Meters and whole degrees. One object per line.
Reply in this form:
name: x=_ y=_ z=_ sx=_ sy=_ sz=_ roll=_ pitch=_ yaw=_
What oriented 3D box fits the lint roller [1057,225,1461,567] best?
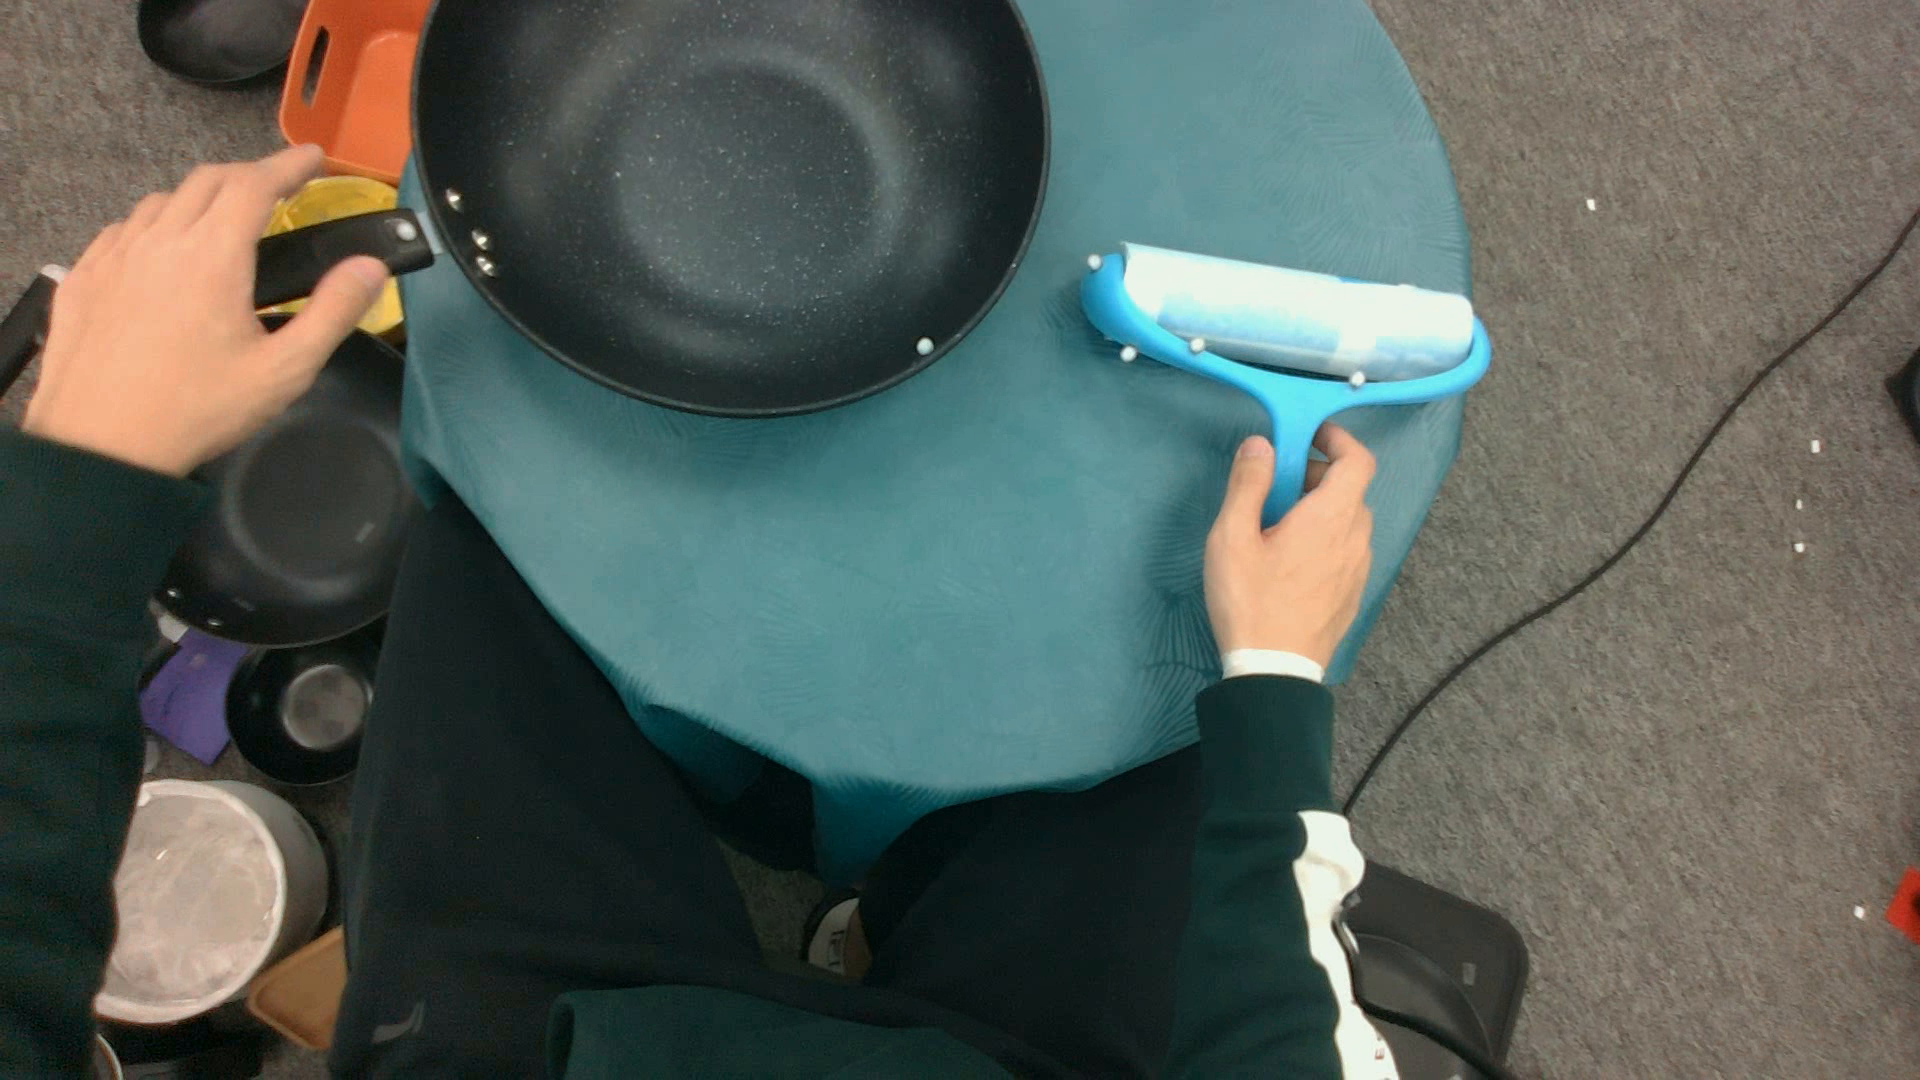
lint roller: x=0.166 y=-0.079 z=0.750 sx=0.229 sy=0.068 sz=0.180 roll=3 pitch=77 yaw=-10

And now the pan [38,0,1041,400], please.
pan: x=-0.189 y=-0.175 z=0.688 sx=0.478 sy=0.111 sz=0.310 roll=-27 pitch=82 yaw=-13
